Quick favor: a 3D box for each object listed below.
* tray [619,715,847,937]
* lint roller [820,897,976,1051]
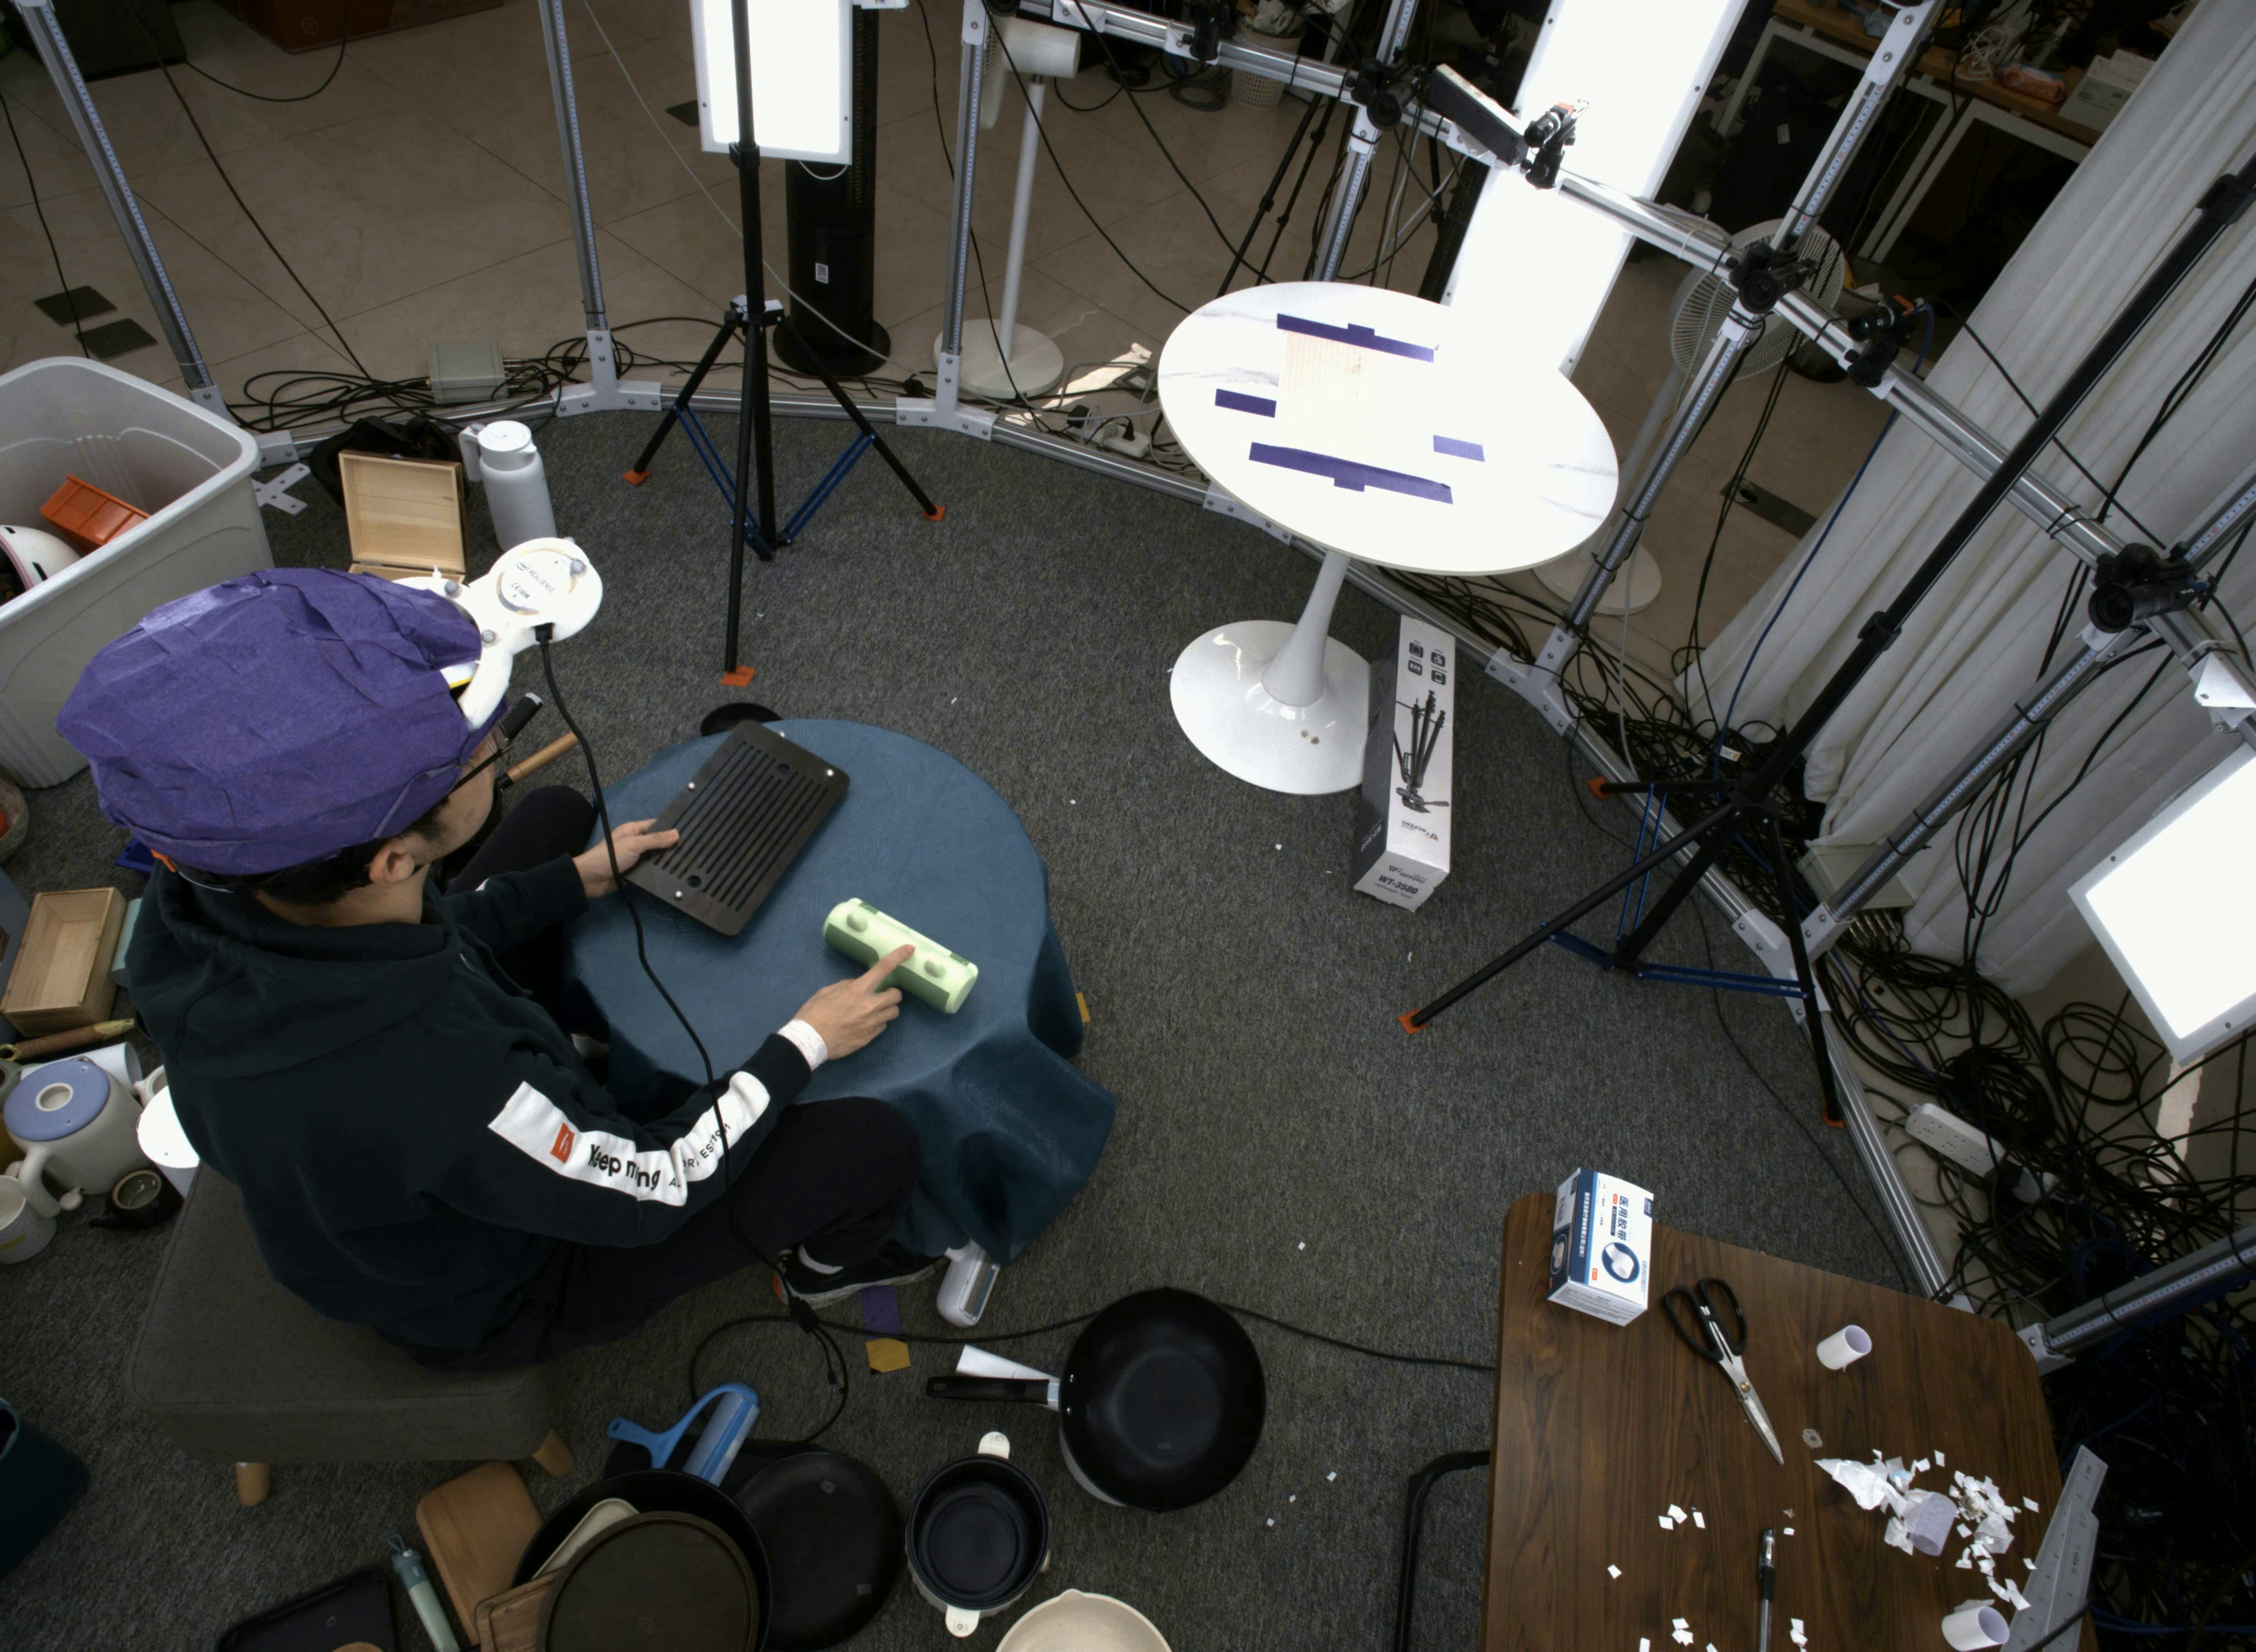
[{"bbox_3d":[-0.505,-0.006,1.667,0.170,0.019,0.303,31,51,-5],"label":"tray"},{"bbox_3d":[-0.309,0.184,1.560,0.195,0.084,0.183,29,48,11],"label":"lint roller"}]
